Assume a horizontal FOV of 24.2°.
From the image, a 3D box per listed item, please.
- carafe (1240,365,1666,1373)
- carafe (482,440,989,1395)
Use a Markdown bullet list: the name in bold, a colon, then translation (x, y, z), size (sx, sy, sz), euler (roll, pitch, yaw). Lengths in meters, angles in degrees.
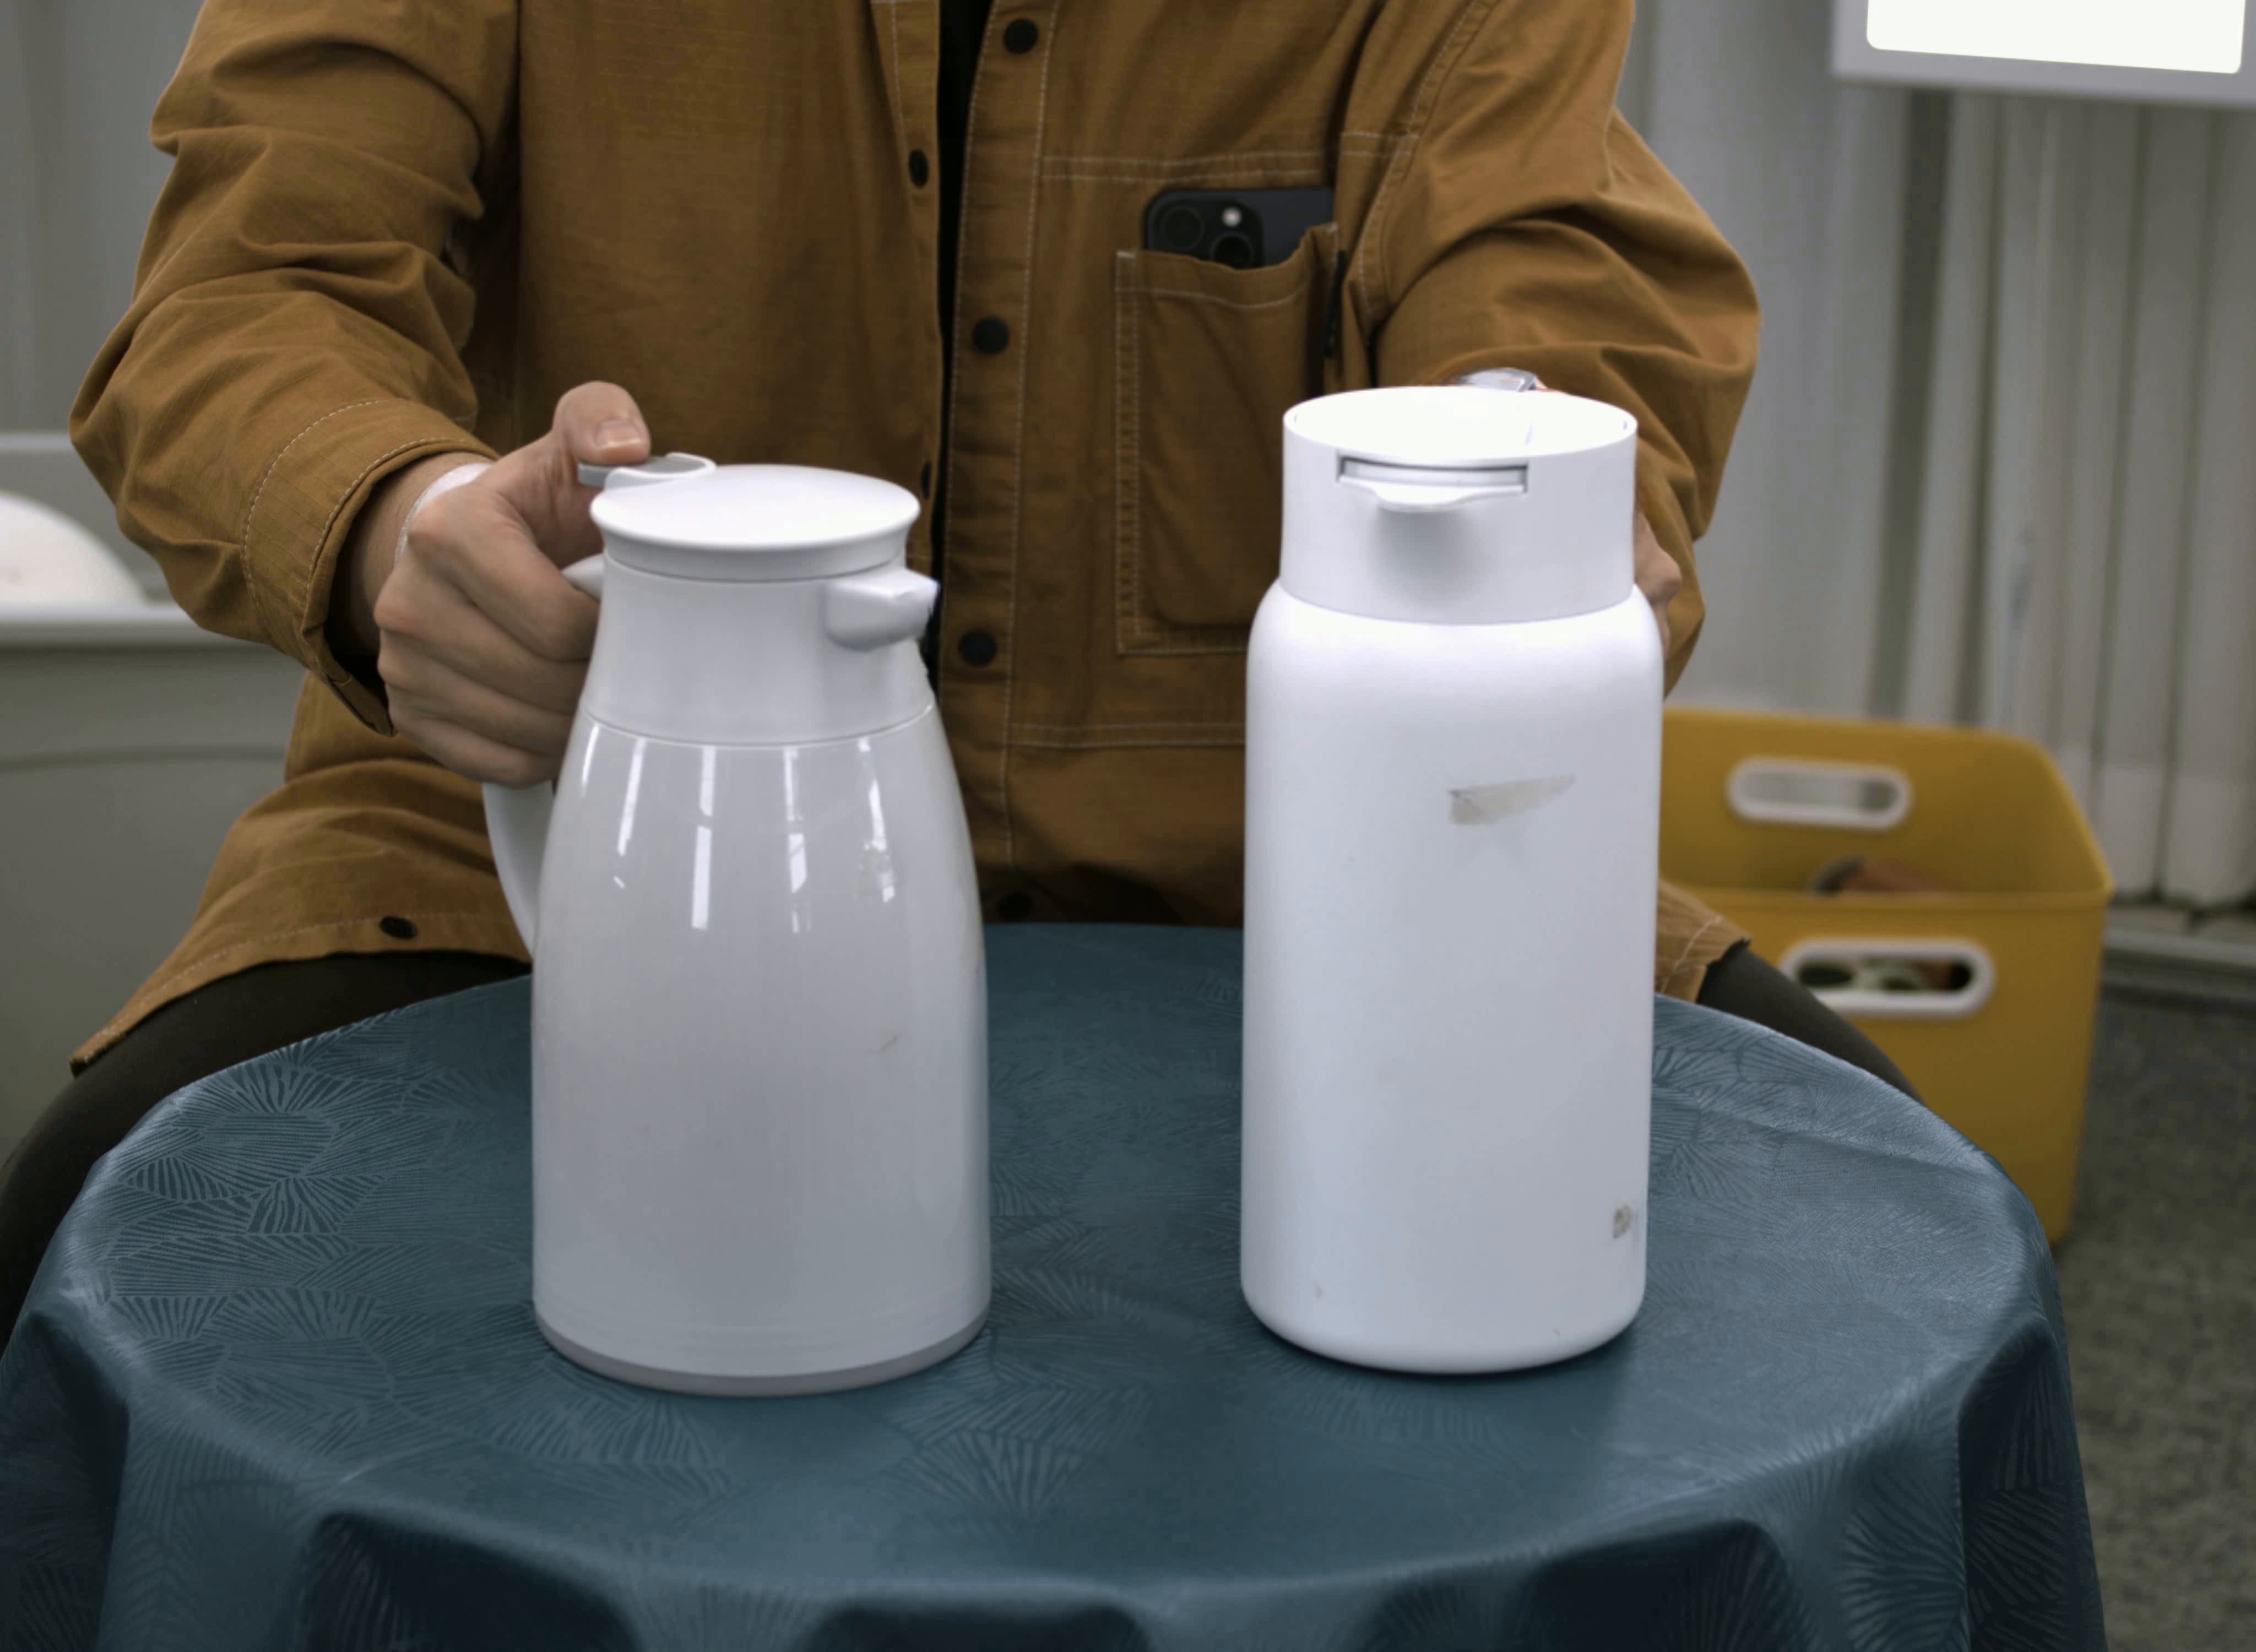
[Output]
- **carafe**: translation (0.094, 0.007, 1.501), size (0.123, 0.271, 0.172), euler (2, 16, 13)
- **carafe**: translation (-0.119, 0.017, 1.488), size (0.165, 0.250, 0.133), euler (13, 21, 38)
